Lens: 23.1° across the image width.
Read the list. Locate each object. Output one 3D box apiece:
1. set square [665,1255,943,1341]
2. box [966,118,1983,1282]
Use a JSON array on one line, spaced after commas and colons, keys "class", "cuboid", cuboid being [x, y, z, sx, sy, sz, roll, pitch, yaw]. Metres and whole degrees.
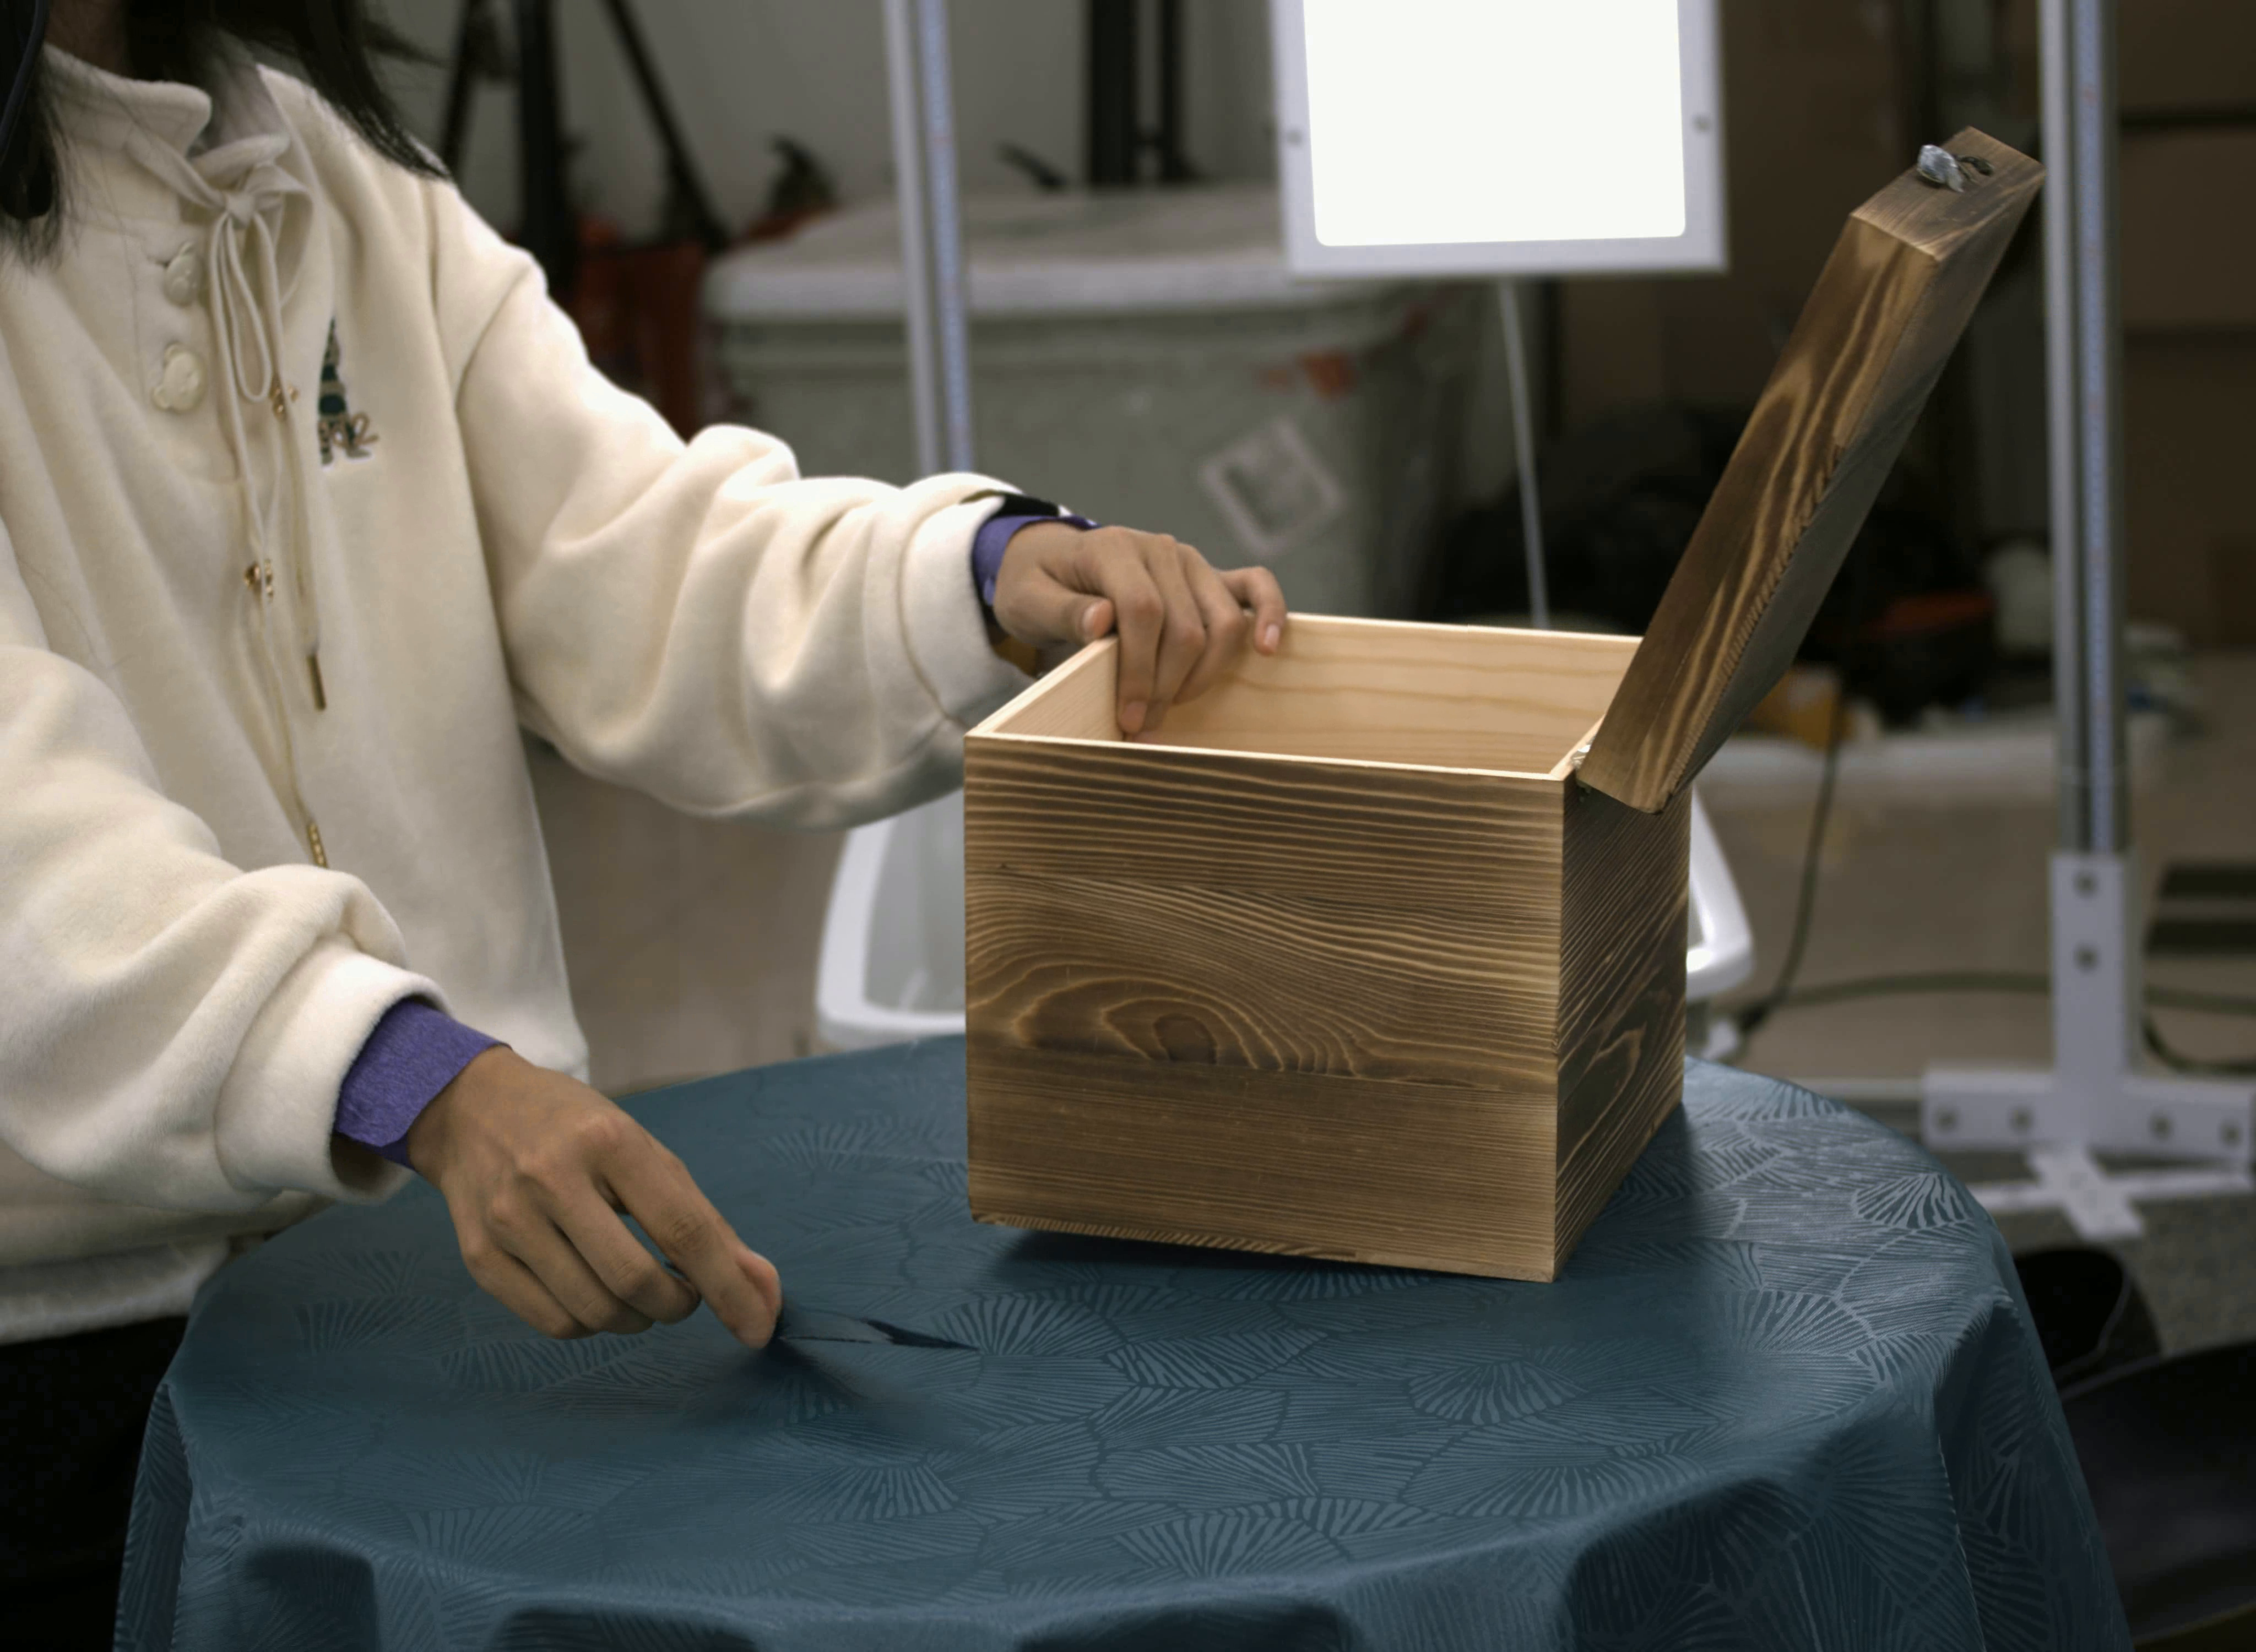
[{"class": "set square", "cuboid": [-0.104, 0.144, 1.700, 0.060, 0.006, 0.134, 29, -16, -20]}, {"class": "box", "cuboid": [0.123, -0.055, 1.826, 0.326, 0.377, 0.205, 6, 16, 18]}]
